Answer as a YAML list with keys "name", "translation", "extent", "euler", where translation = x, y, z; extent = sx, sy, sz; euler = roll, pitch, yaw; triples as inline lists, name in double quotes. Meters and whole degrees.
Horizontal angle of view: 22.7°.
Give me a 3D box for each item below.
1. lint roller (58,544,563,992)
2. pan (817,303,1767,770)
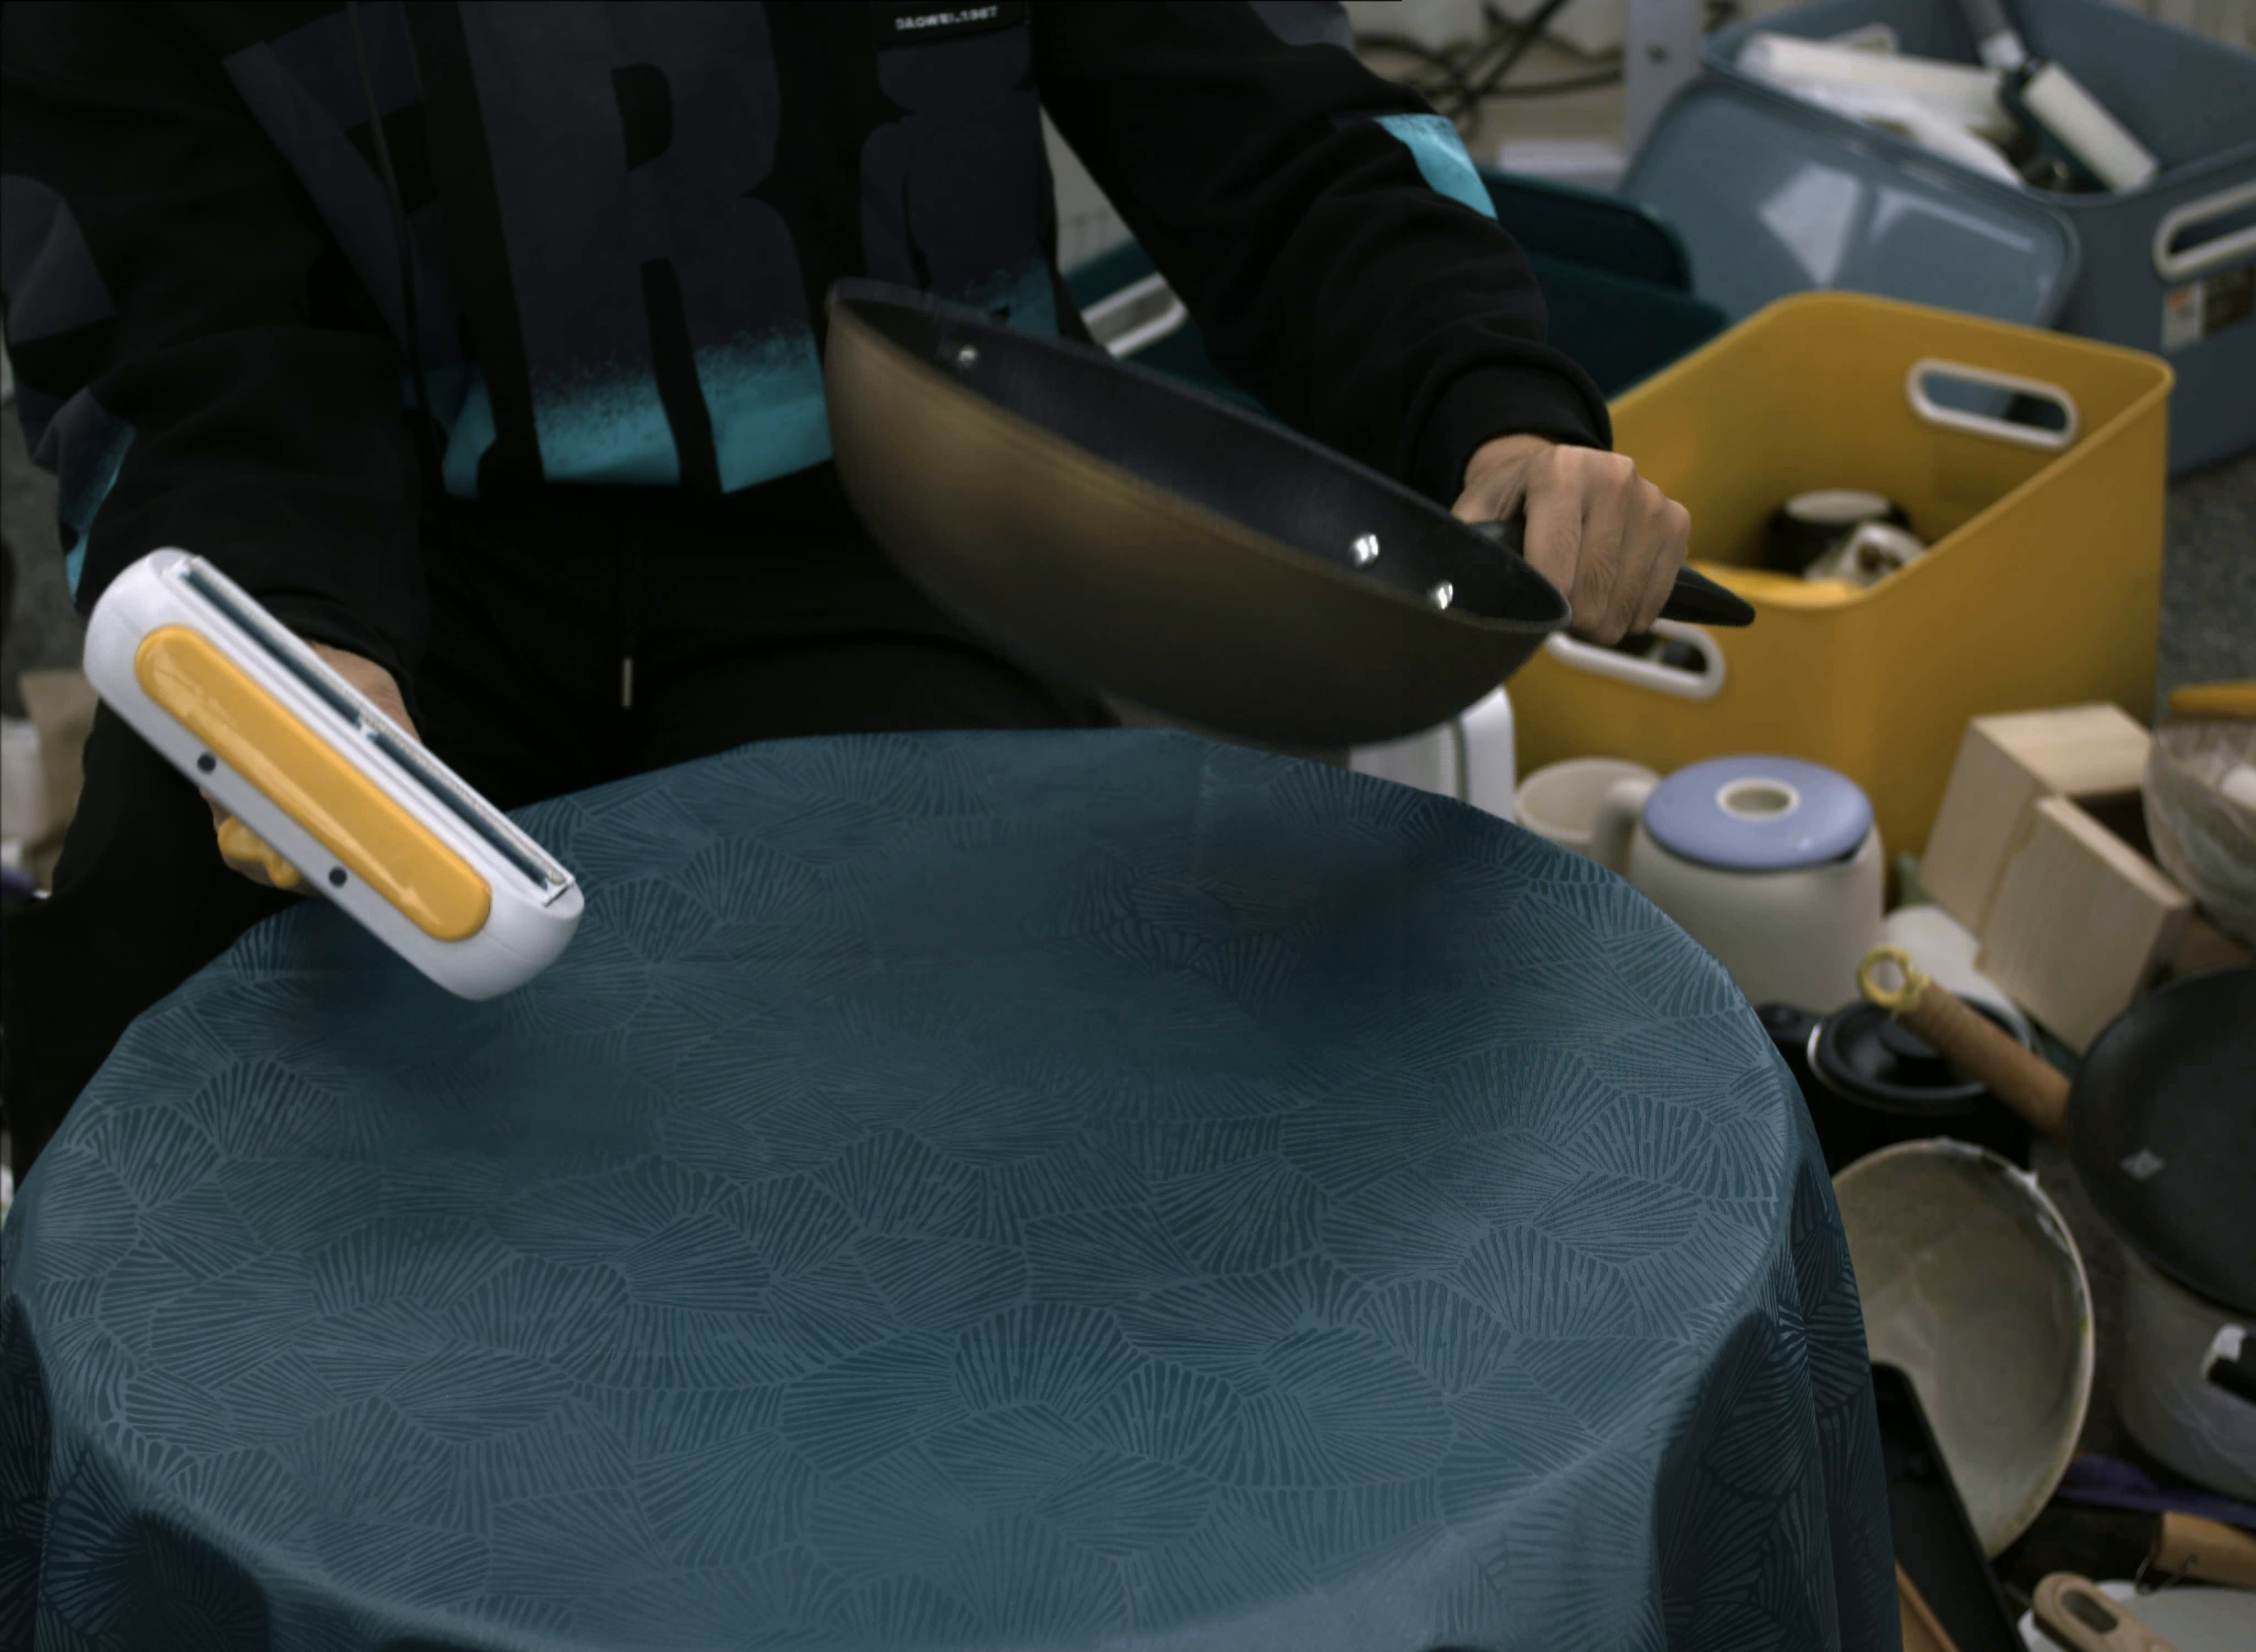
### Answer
- name: "lint roller"
  translation: [-0.271, -0.015, 1.933]
  extent: [0.192, 0.074, 0.193]
  euler: [36, 4, 3]
- name: "pan"
  translation: [0.069, -0.079, 2.013]
  extent: [0.288, 0.086, 0.464]
  euler: [32, 14, 39]
